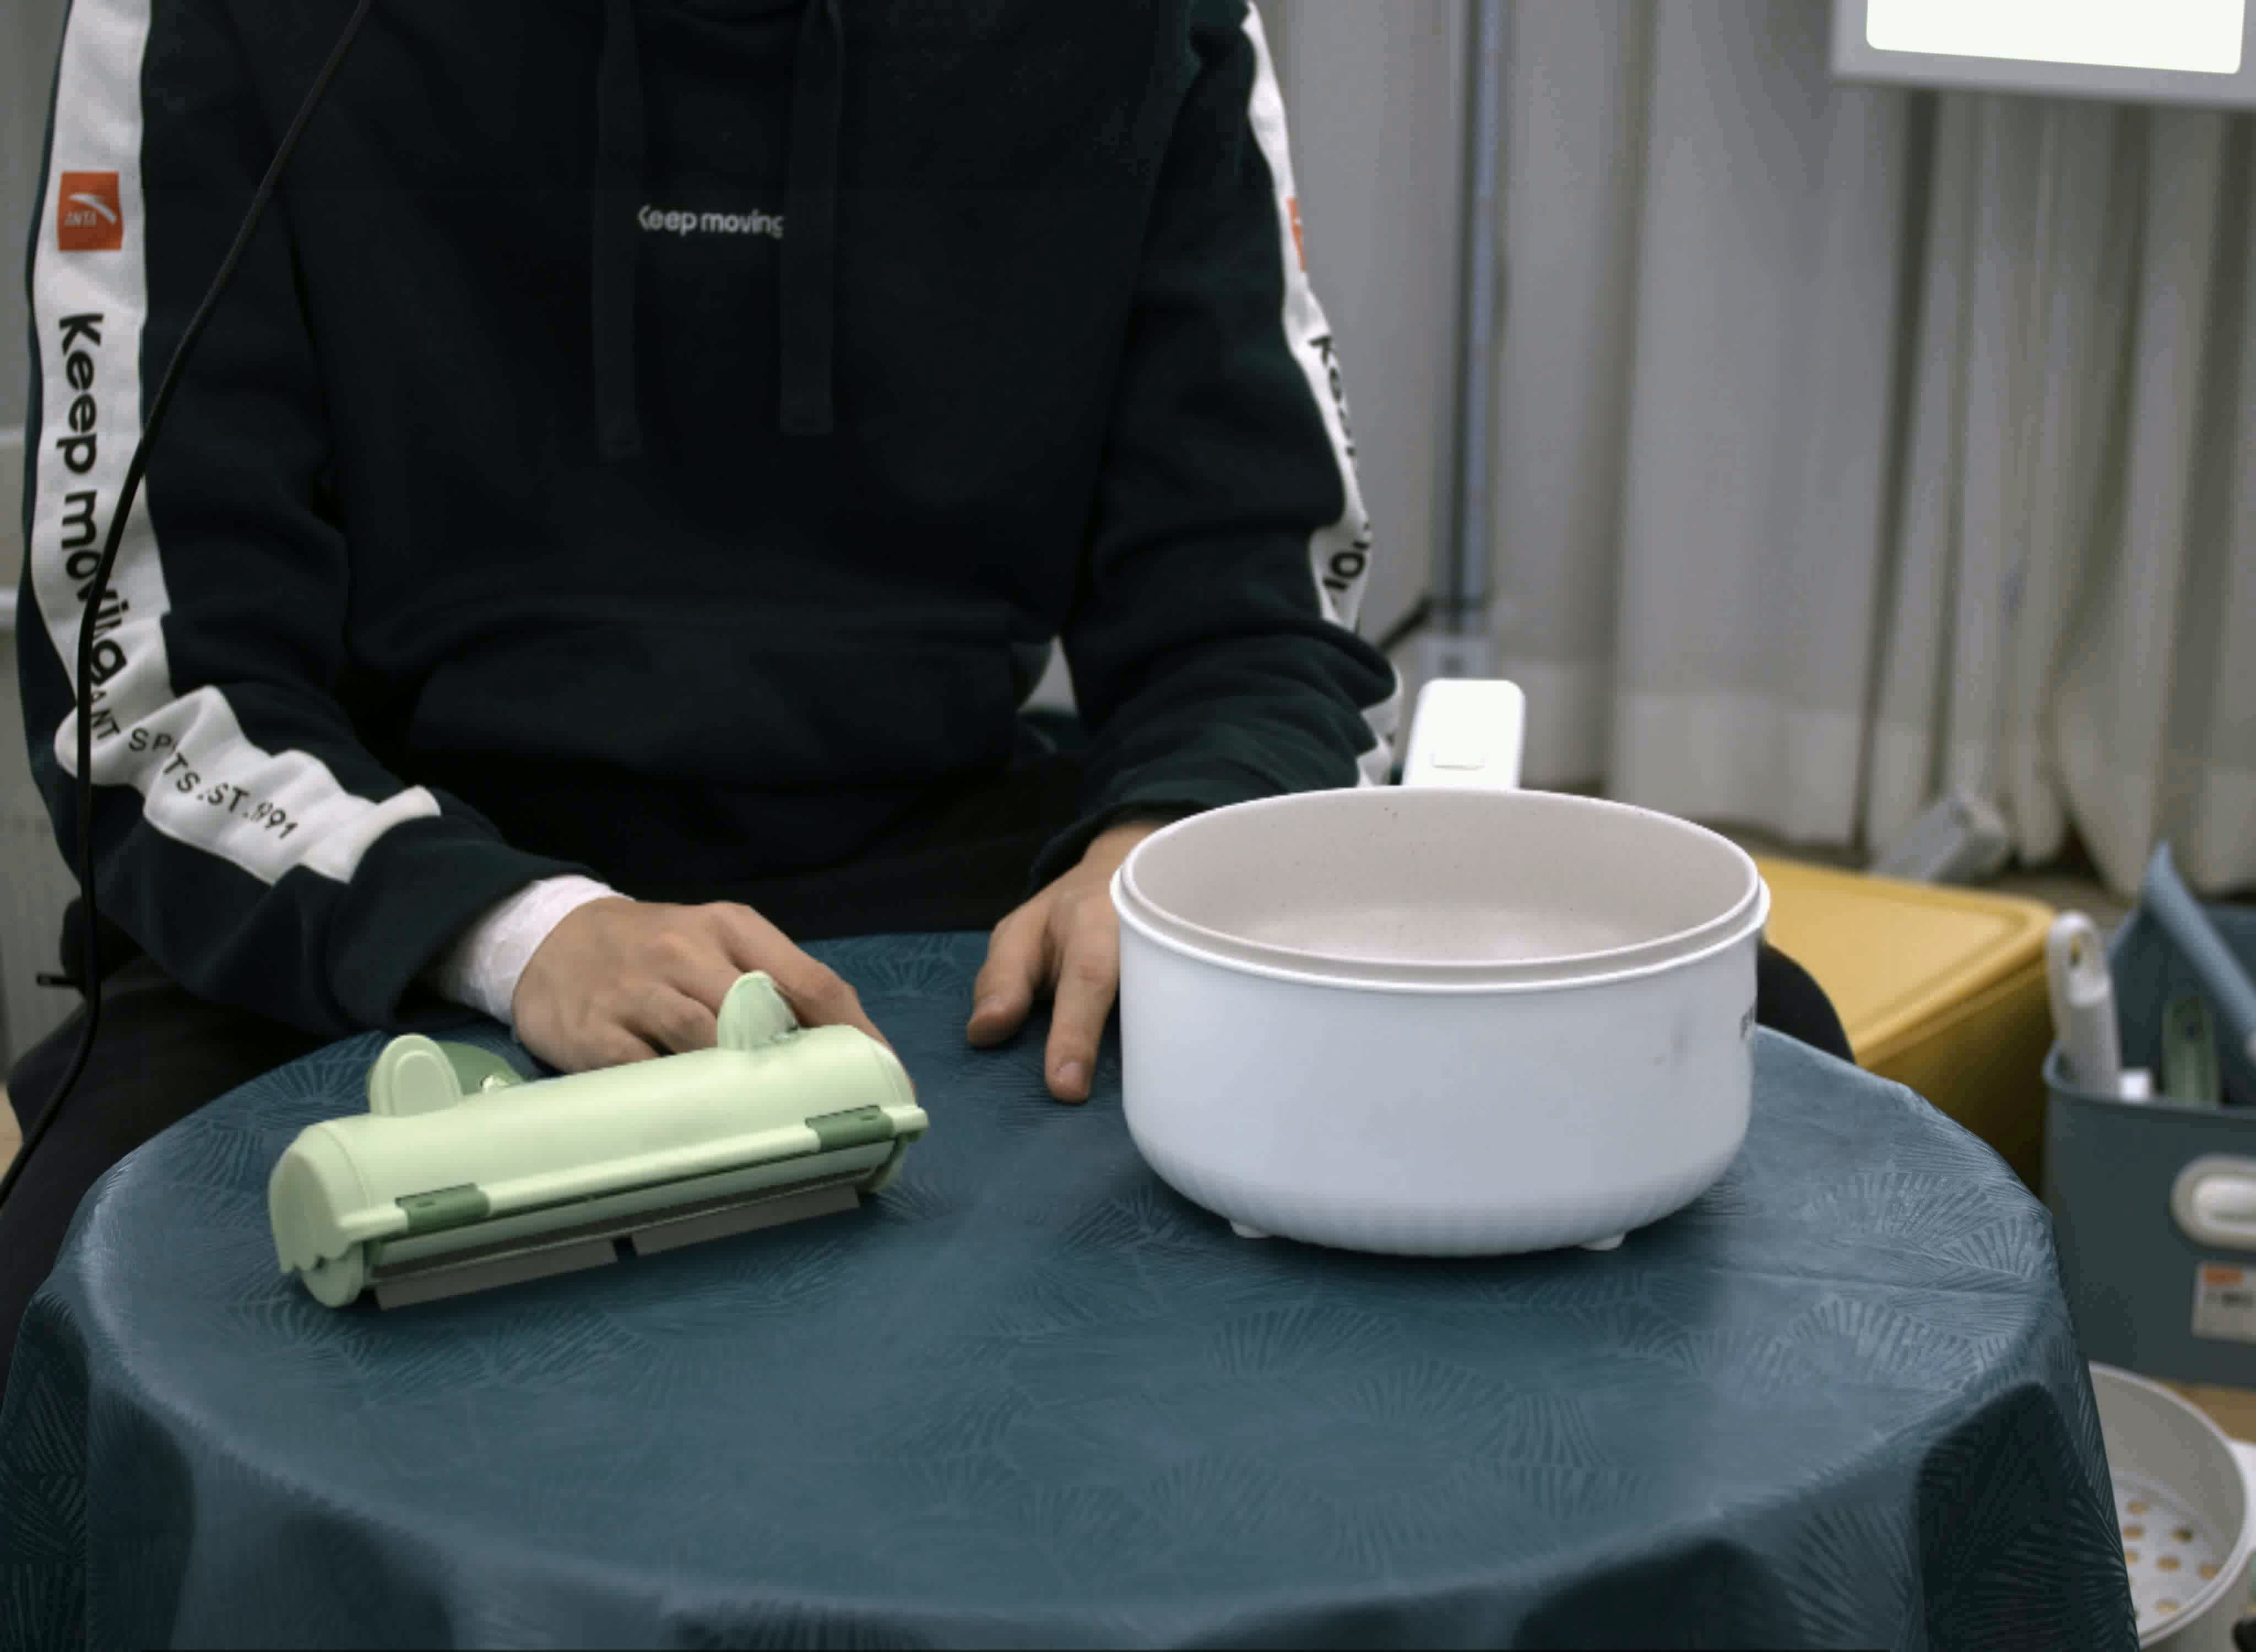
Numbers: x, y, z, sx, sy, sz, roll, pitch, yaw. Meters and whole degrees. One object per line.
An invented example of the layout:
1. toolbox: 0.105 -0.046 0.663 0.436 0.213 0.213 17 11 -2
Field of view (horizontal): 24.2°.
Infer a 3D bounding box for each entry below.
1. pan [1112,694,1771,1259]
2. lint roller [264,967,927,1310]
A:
1. pan: 0.104 0.044 1.689 0.200 0.103 0.353 1 15 6
2. lint roller: -0.187 0.076 1.603 0.199 0.083 0.181 -10 24 -32
